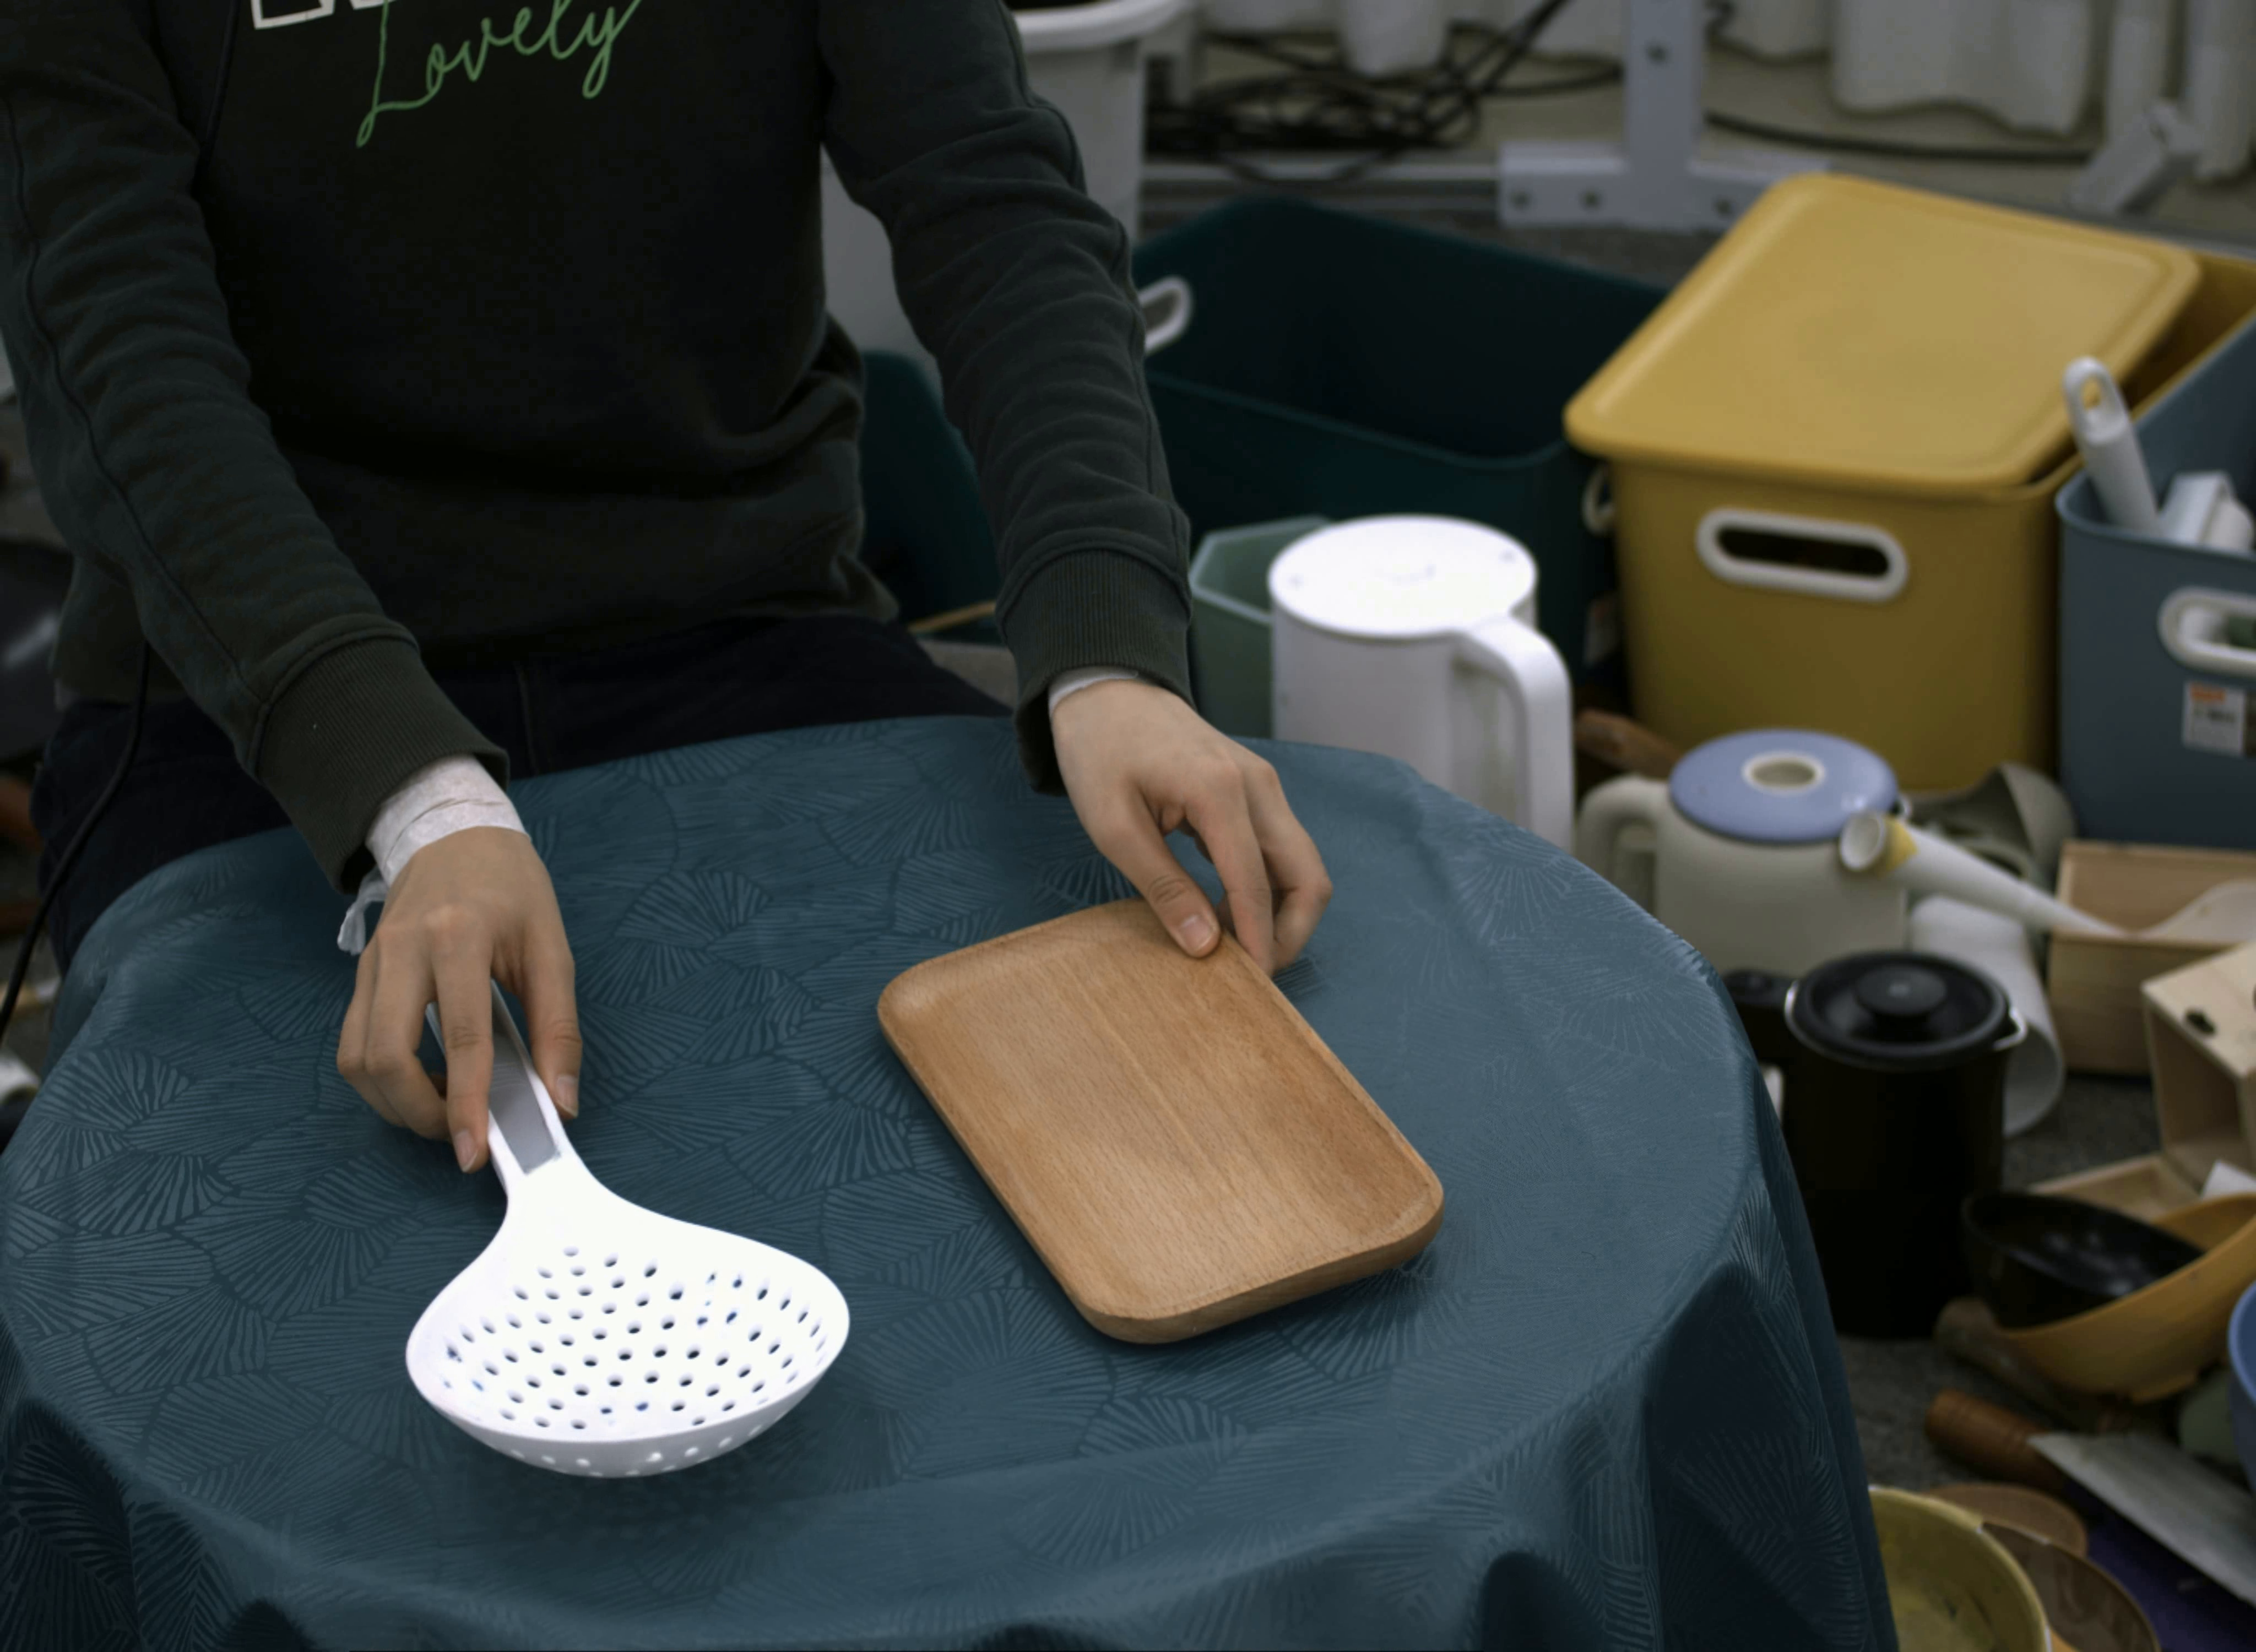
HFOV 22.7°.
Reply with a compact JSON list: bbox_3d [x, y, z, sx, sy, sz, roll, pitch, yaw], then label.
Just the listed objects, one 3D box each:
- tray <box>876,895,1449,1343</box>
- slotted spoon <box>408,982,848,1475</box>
[{"bbox_3d":[0.008,0.095,1.882,0.131,0.022,0.252,-15,29,-15],"label":"tray"},{"bbox_3d":[-0.185,0.124,1.823,0.136,0.045,0.353,-7,27,-15],"label":"slotted spoon"}]
